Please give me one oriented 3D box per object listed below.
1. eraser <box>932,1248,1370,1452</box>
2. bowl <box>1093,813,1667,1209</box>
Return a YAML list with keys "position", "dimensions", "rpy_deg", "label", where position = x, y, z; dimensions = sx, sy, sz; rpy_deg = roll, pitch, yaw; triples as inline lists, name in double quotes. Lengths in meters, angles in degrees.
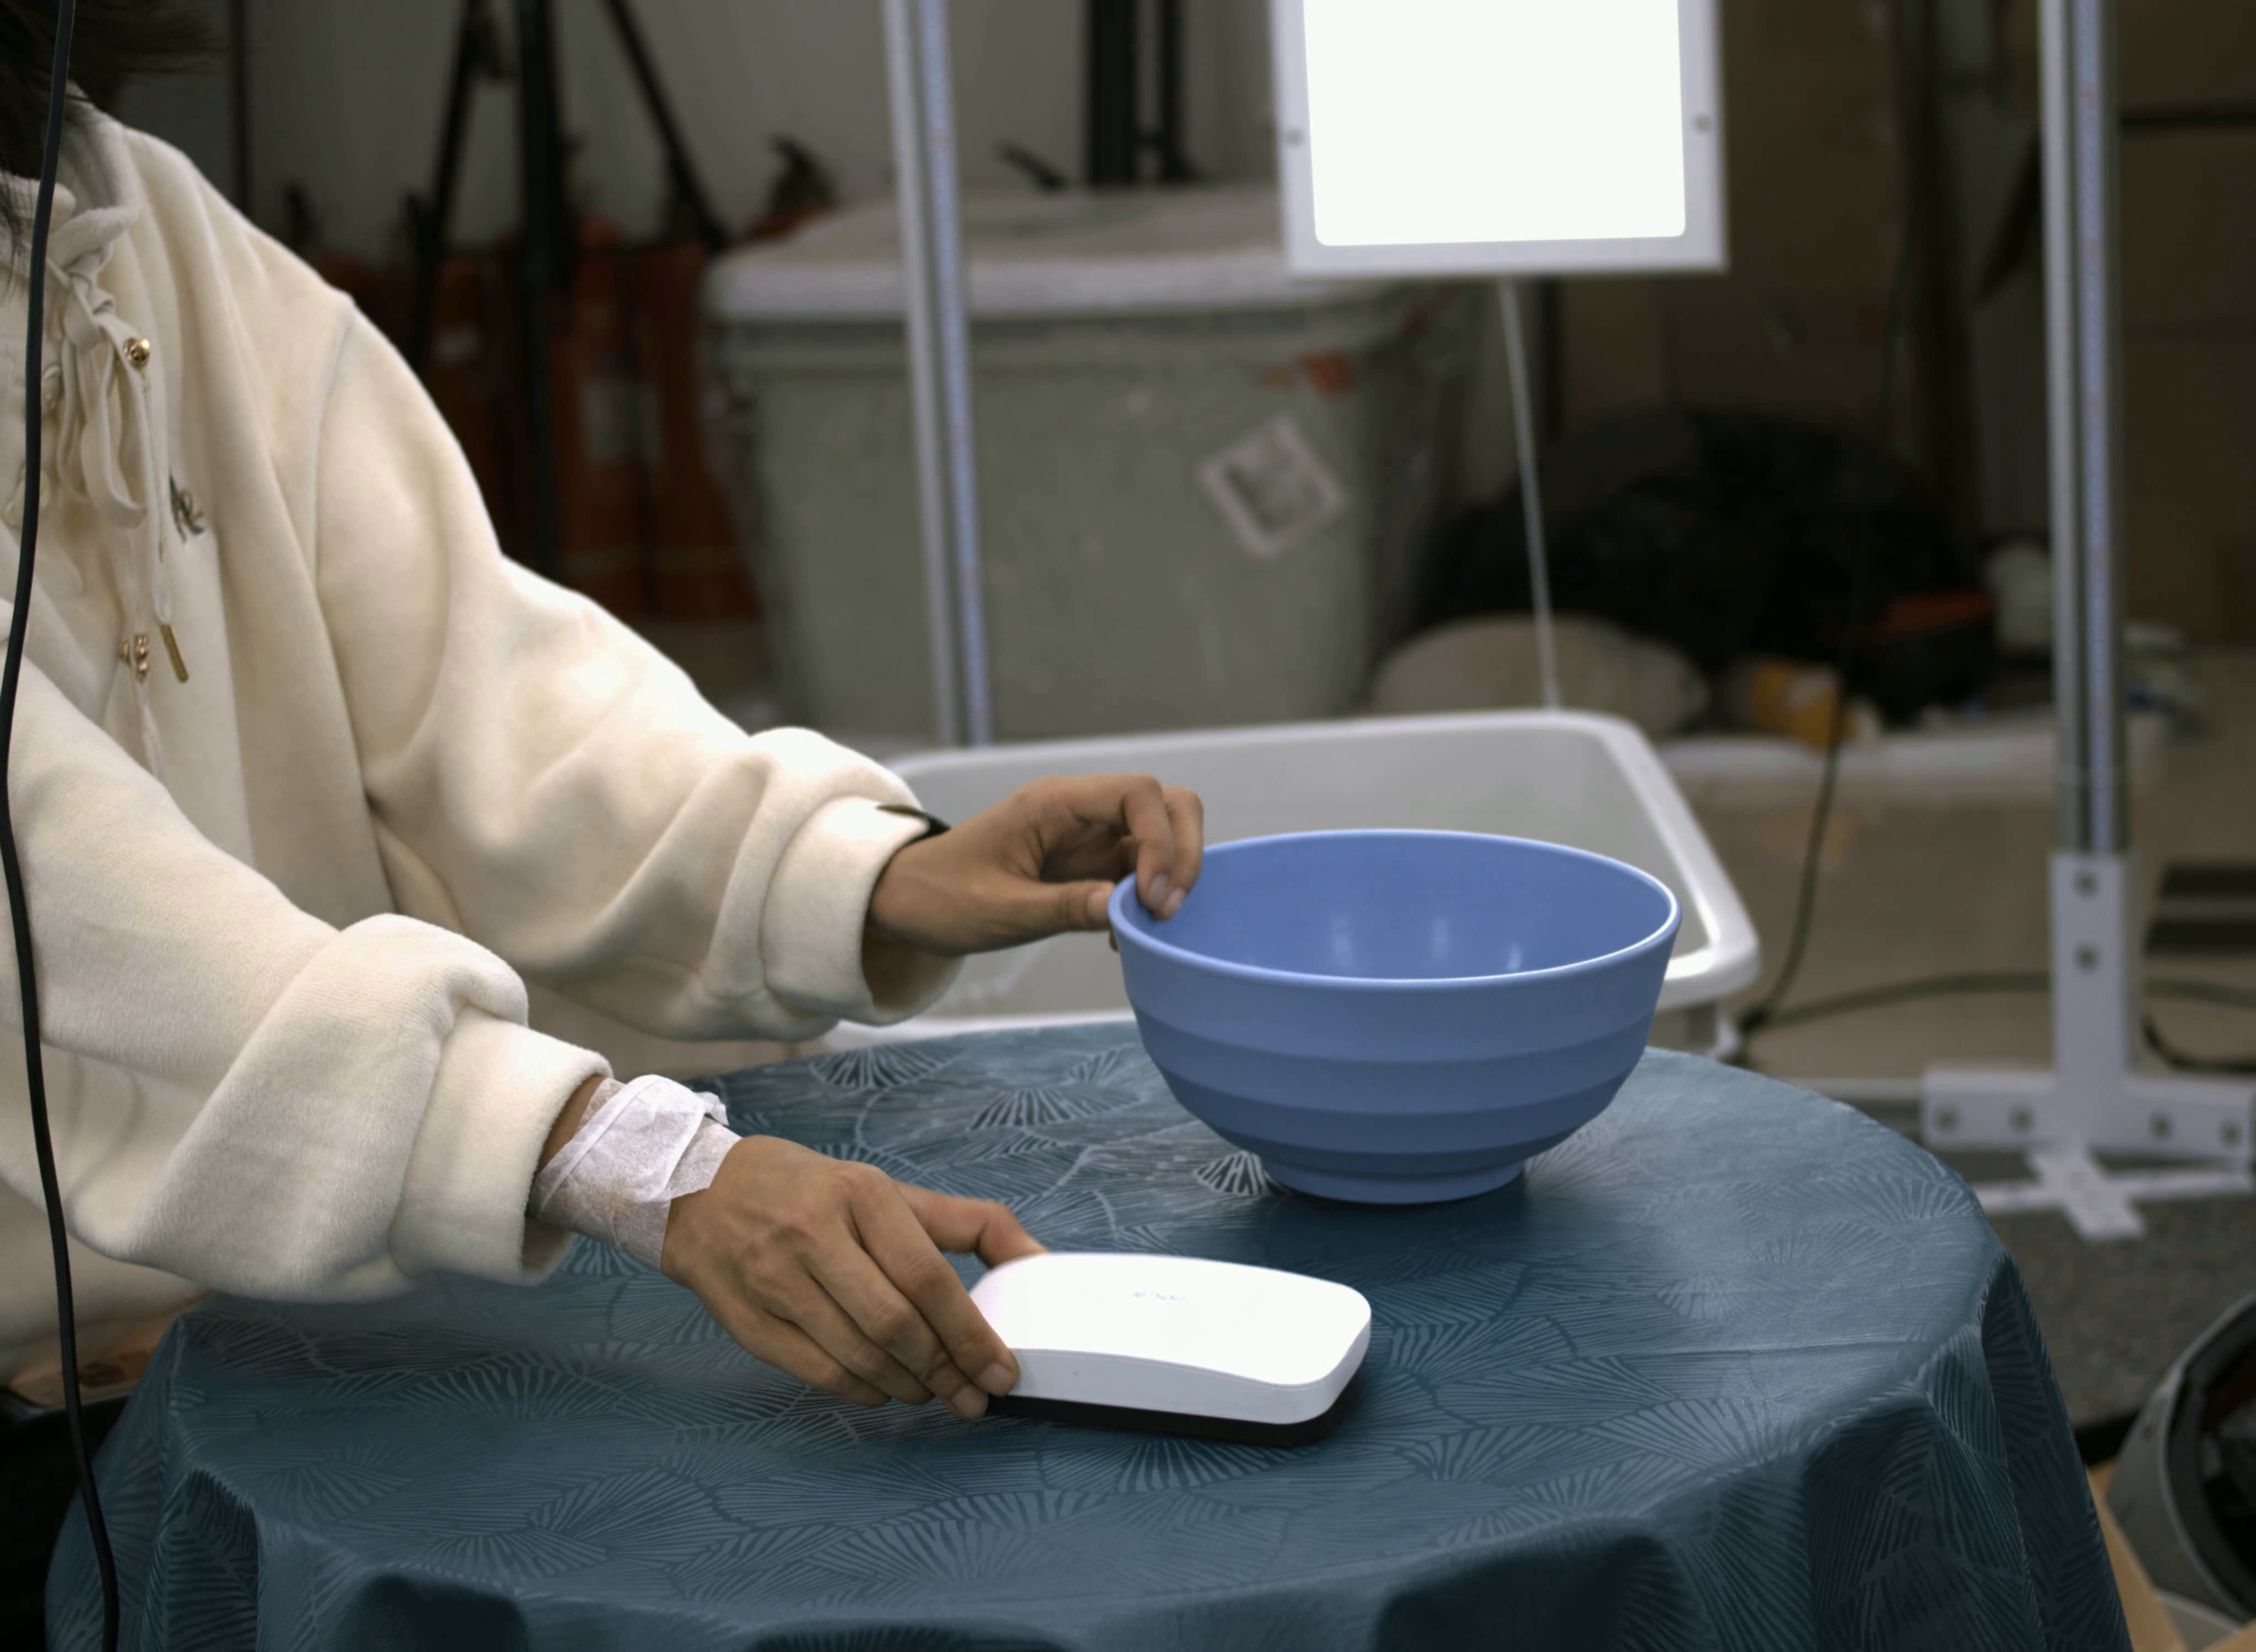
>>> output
- position: [0.008, 0.159, 1.680]
  dimensions: [0.133, 0.034, 0.062]
  rpy_deg: [4, 24, 26]
  label: "eraser"
- position: [0.084, 0.070, 1.885]
  dimensions: [0.196, 0.096, 0.196]
  rpy_deg: [1, 19, -2]
  label: "bowl"
